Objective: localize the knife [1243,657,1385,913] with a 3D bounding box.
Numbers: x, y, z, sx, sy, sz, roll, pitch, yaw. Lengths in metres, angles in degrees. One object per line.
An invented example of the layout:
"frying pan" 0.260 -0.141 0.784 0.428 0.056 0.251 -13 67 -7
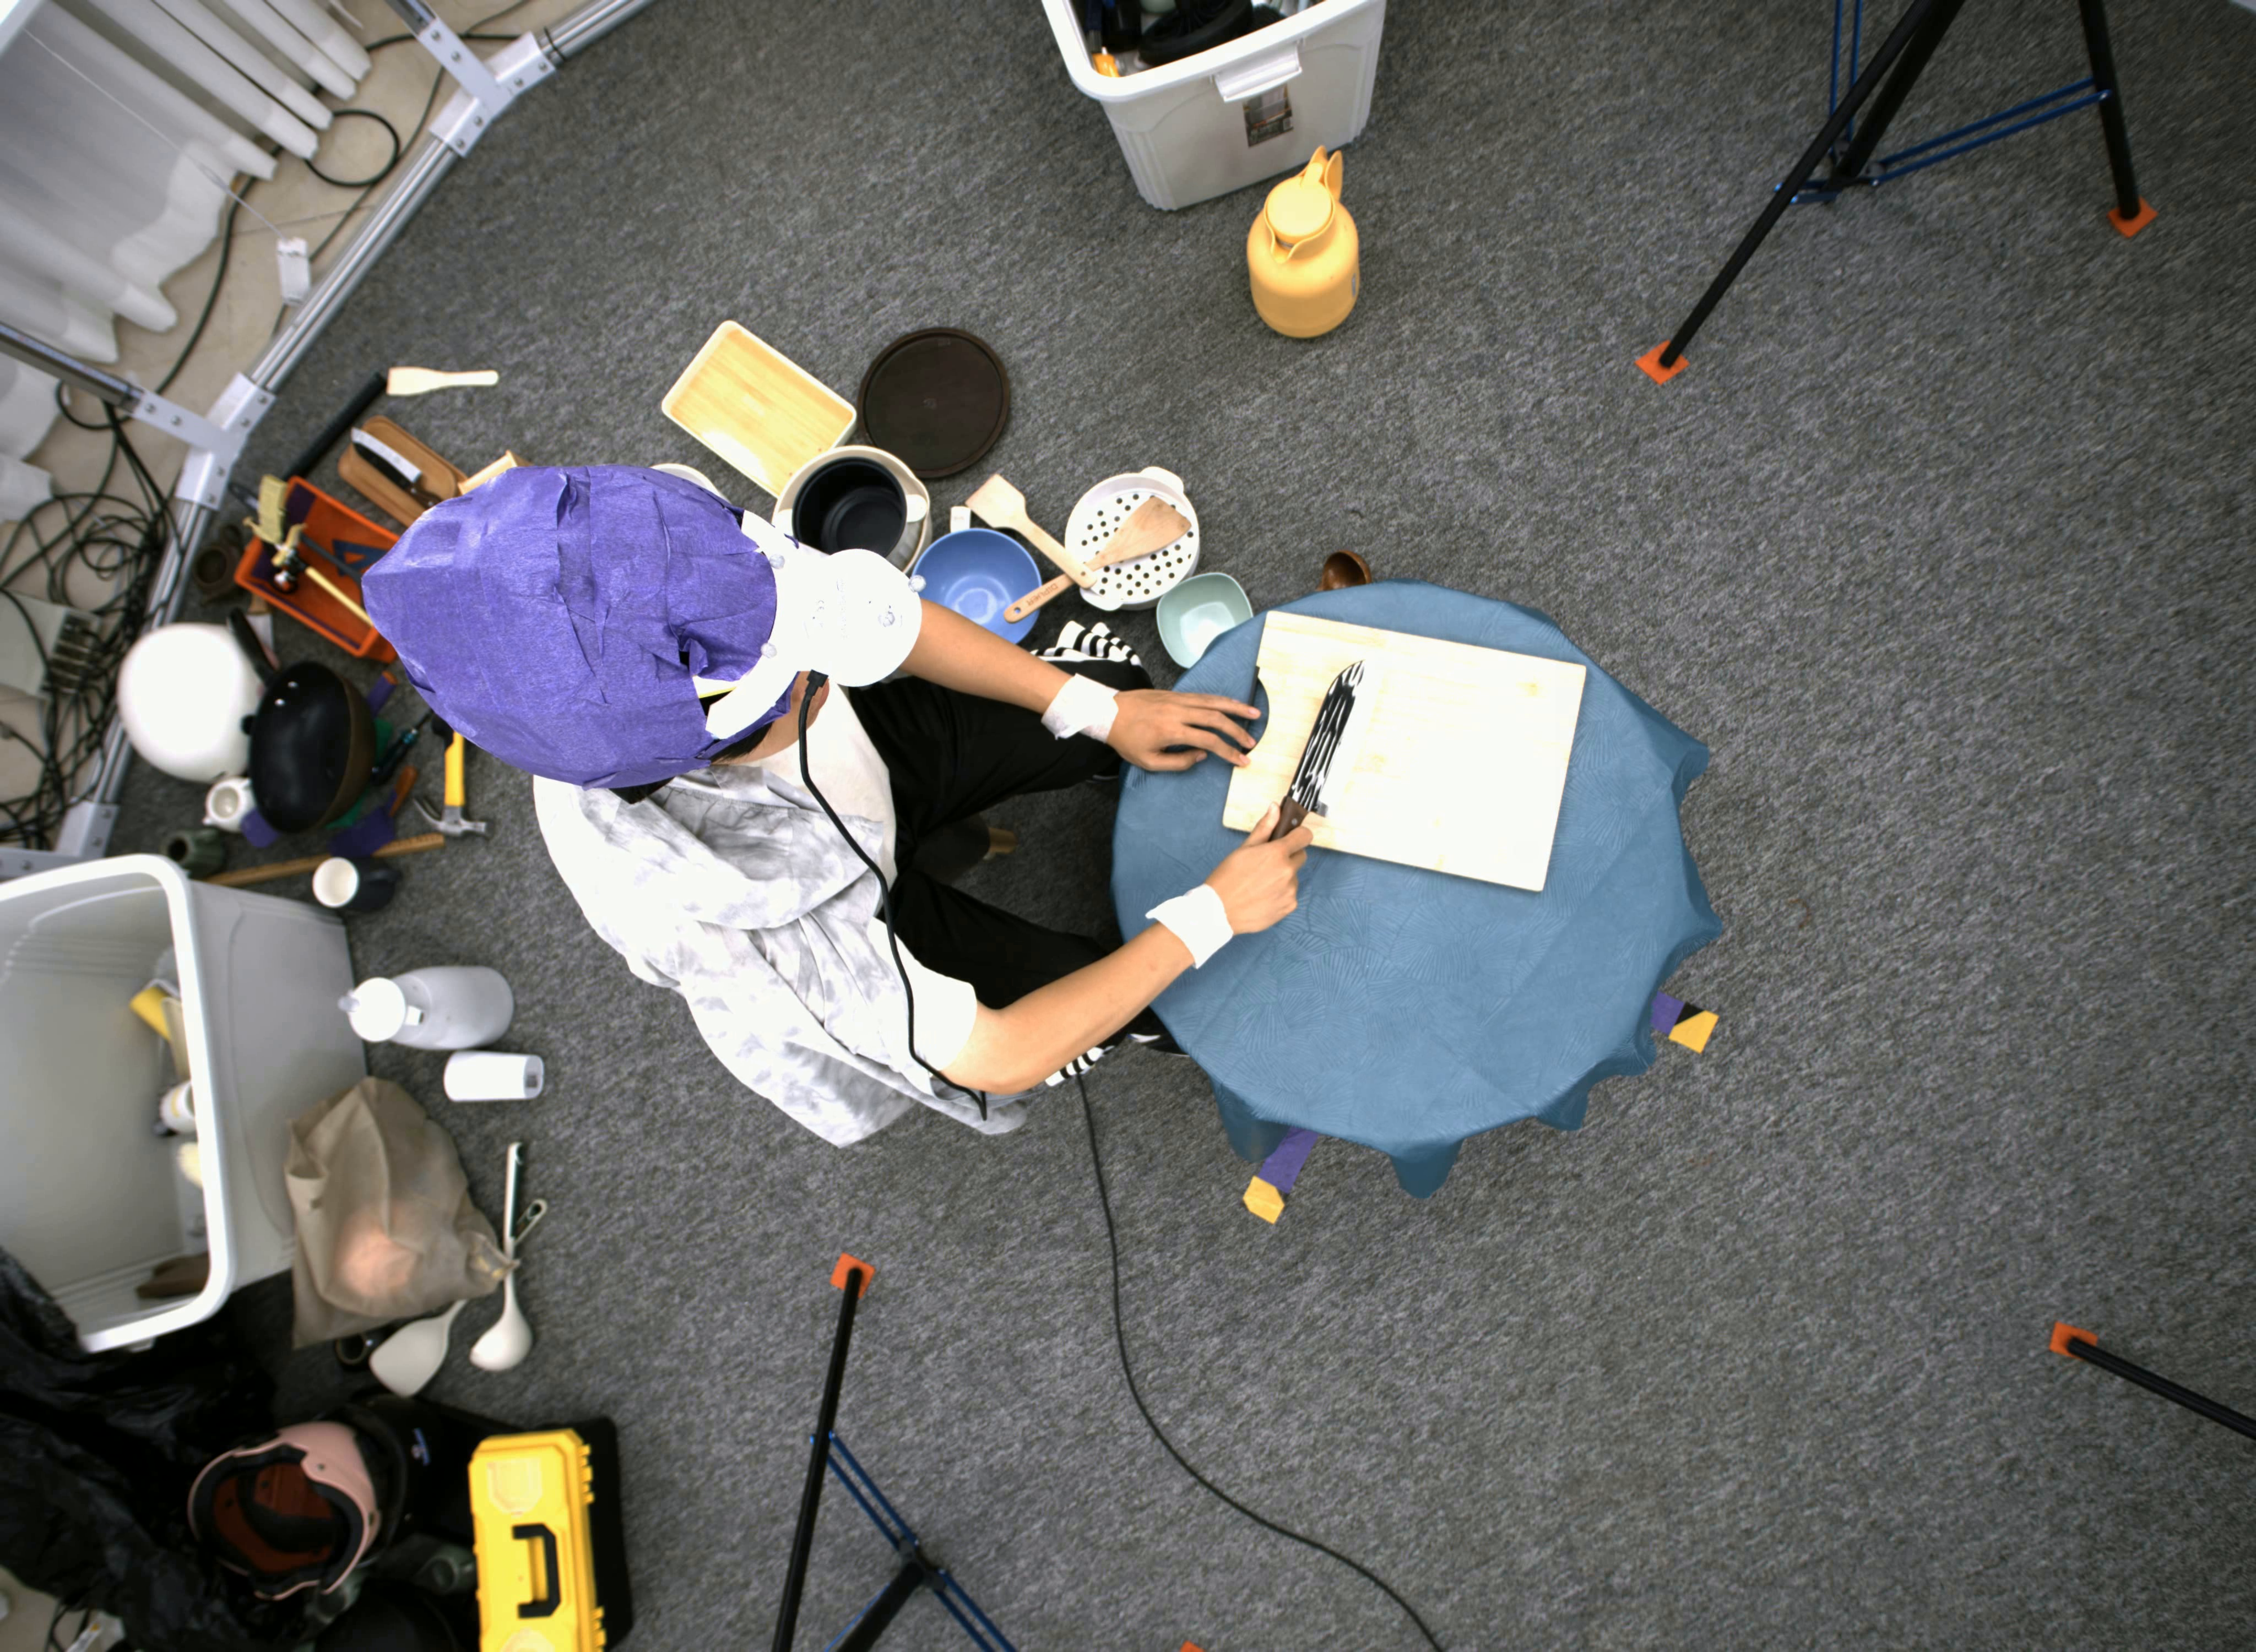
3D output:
"knife" 0.194 -0.044 1.413 0.068 0.024 0.299 23 89 -34

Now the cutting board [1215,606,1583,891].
"cutting board" 0.284 -0.087 1.456 0.349 0.023 0.250 11 88 11
